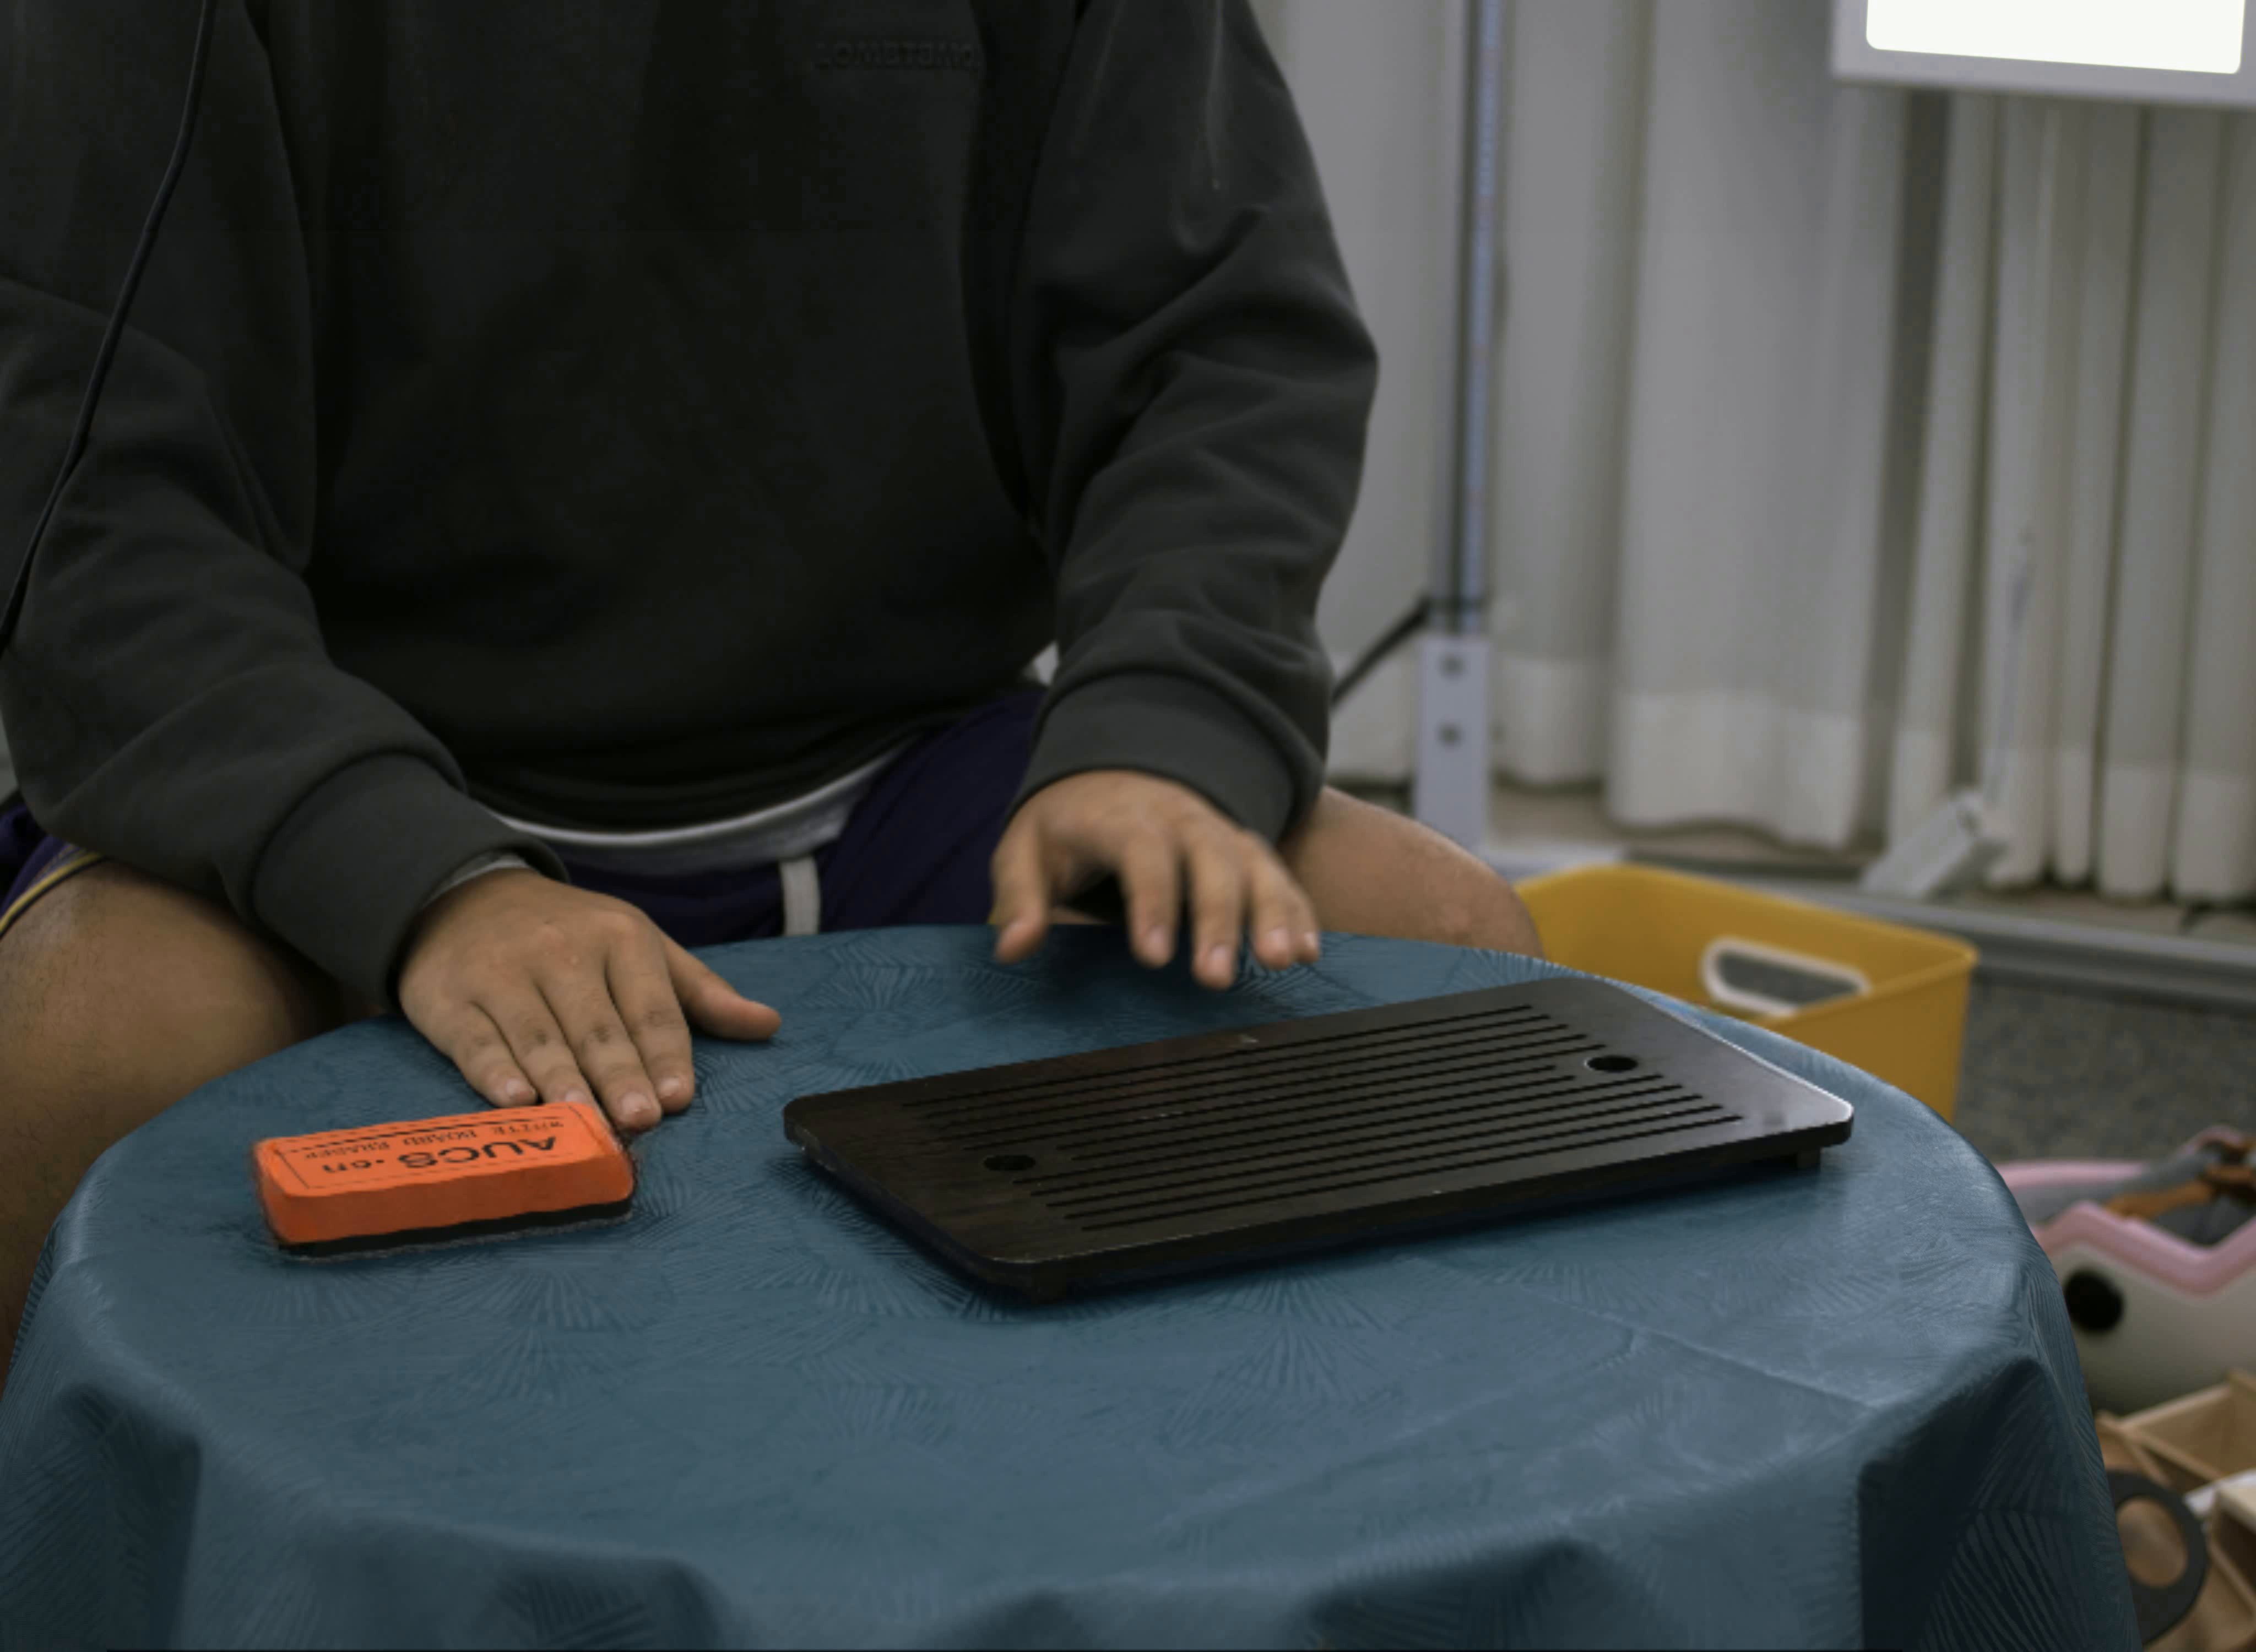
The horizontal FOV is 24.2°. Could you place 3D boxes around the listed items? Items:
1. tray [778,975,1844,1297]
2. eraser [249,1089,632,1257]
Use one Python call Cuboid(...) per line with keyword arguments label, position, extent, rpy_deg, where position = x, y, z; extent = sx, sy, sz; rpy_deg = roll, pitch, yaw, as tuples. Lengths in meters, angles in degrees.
Cuboid(label="tray", position=(0.058, 0.095, 1.653), extent=(0.307, 0.019, 0.168), rpy_deg=(-8, 18, -27))
Cuboid(label="eraser", position=(-0.207, 0.104, 1.589), extent=(0.108, 0.023, 0.058), rpy_deg=(-7, 17, -23))
